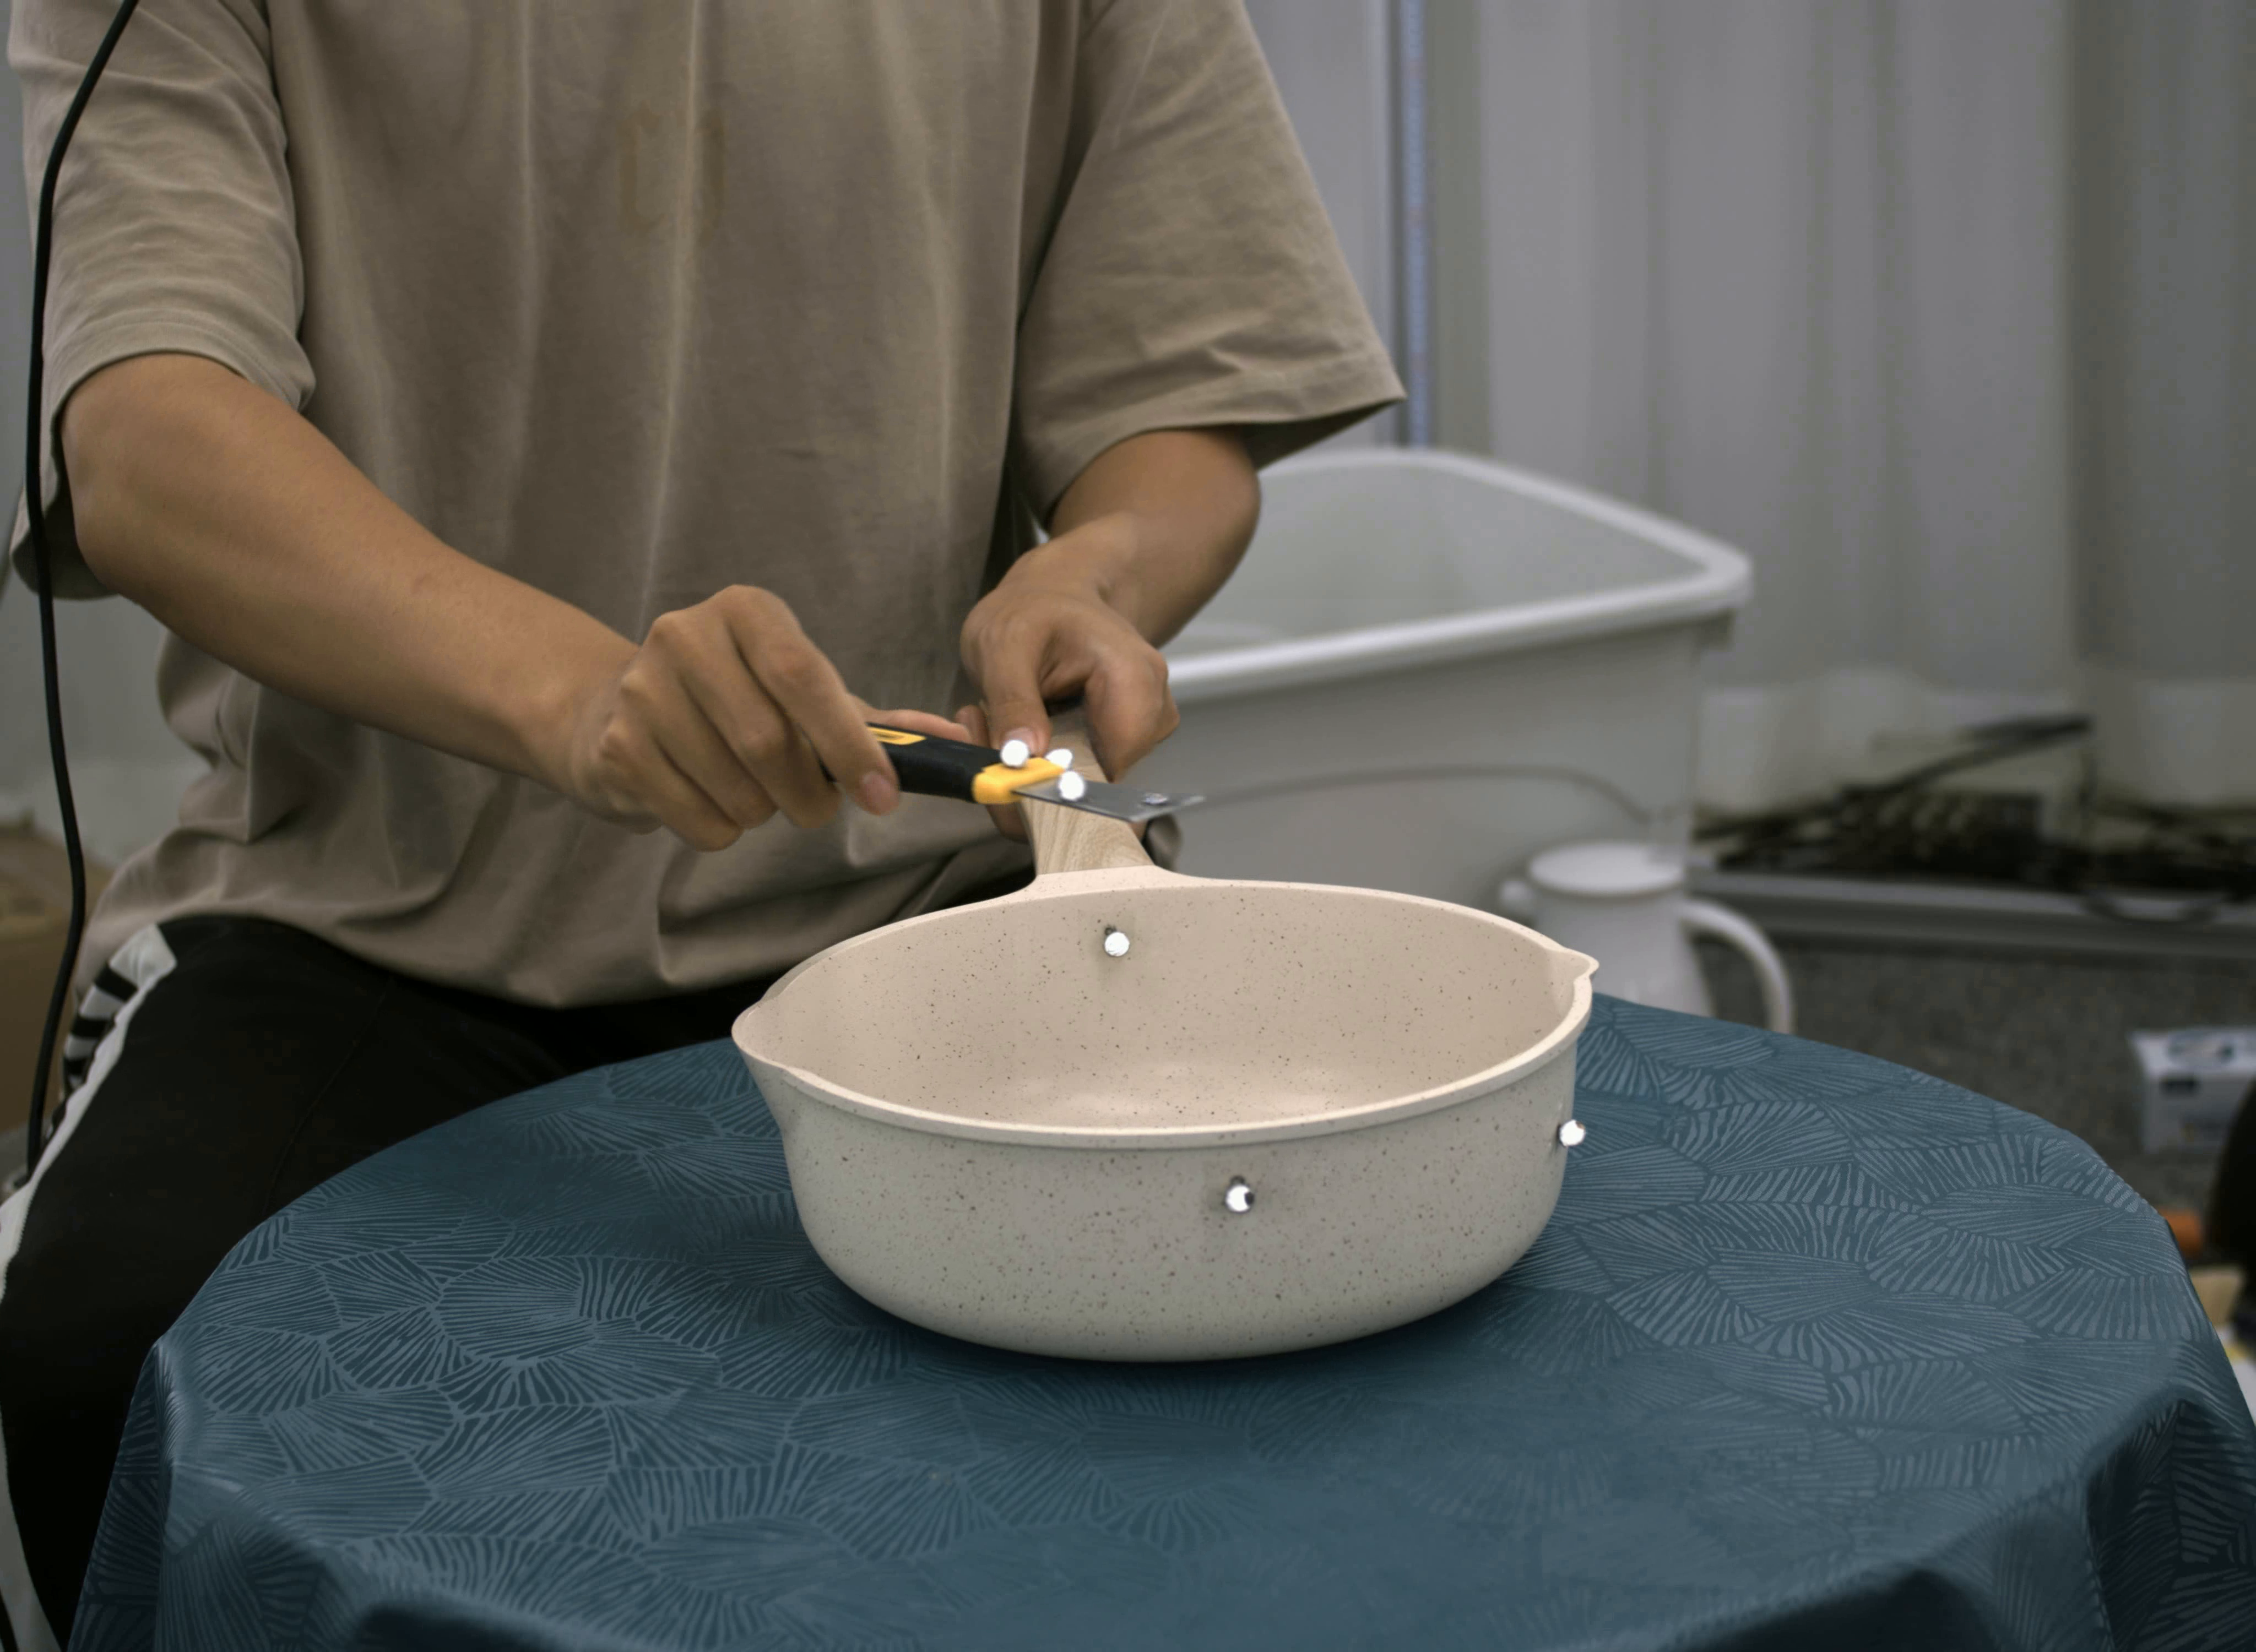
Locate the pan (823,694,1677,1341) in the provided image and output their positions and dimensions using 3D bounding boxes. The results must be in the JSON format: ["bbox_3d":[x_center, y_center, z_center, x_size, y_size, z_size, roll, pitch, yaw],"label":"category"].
[{"bbox_3d":[0.025,0.055,1.735,0.262,0.101,0.438,-7,15,-8],"label":"pan"}]

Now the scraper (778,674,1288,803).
[{"bbox_3d":[-0.033,-0.025,1.598,0.172,0.015,0.039,11,24,34],"label":"scraper"}]
